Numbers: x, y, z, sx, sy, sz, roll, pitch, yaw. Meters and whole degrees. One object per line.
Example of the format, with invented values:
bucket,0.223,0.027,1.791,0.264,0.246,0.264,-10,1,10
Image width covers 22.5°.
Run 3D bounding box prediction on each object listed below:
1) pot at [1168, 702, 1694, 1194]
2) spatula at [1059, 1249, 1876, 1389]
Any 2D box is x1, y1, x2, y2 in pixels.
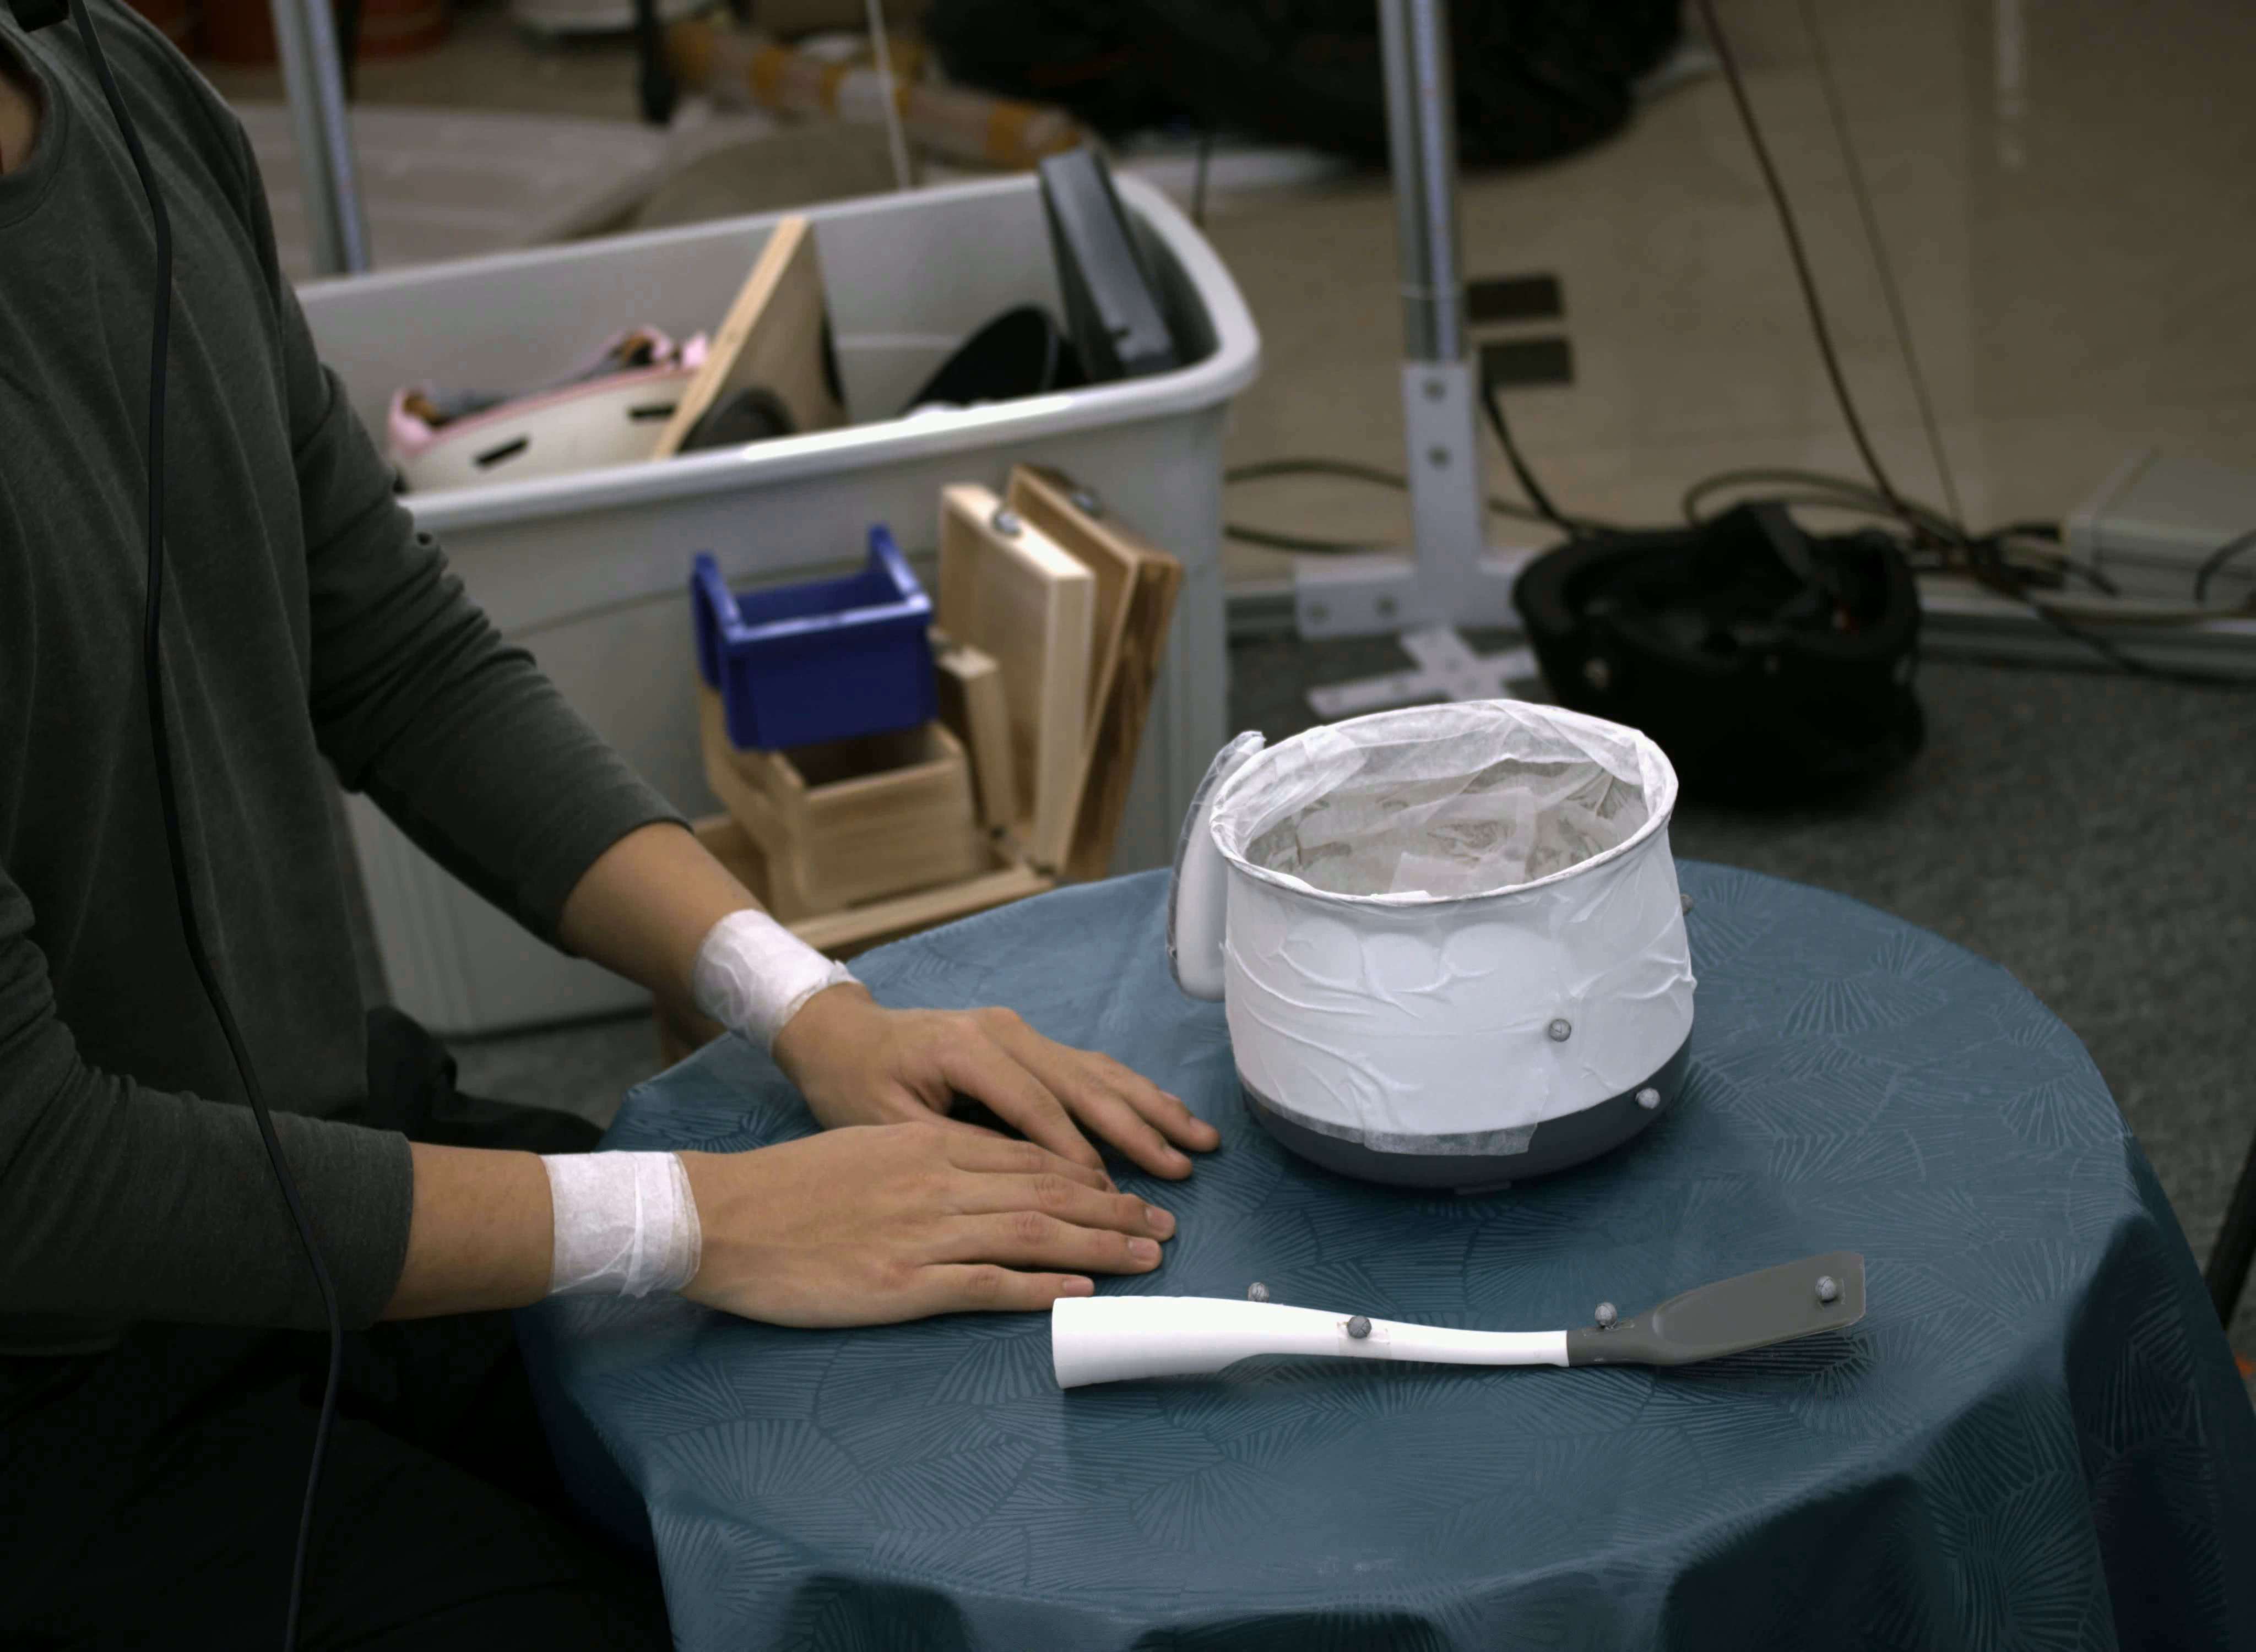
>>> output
pot,0.104,0.041,2.171,0.232,0.139,0.177,17,33,40
spatula,0.119,0.176,2.002,0.287,0.032,0.058,-3,21,8
